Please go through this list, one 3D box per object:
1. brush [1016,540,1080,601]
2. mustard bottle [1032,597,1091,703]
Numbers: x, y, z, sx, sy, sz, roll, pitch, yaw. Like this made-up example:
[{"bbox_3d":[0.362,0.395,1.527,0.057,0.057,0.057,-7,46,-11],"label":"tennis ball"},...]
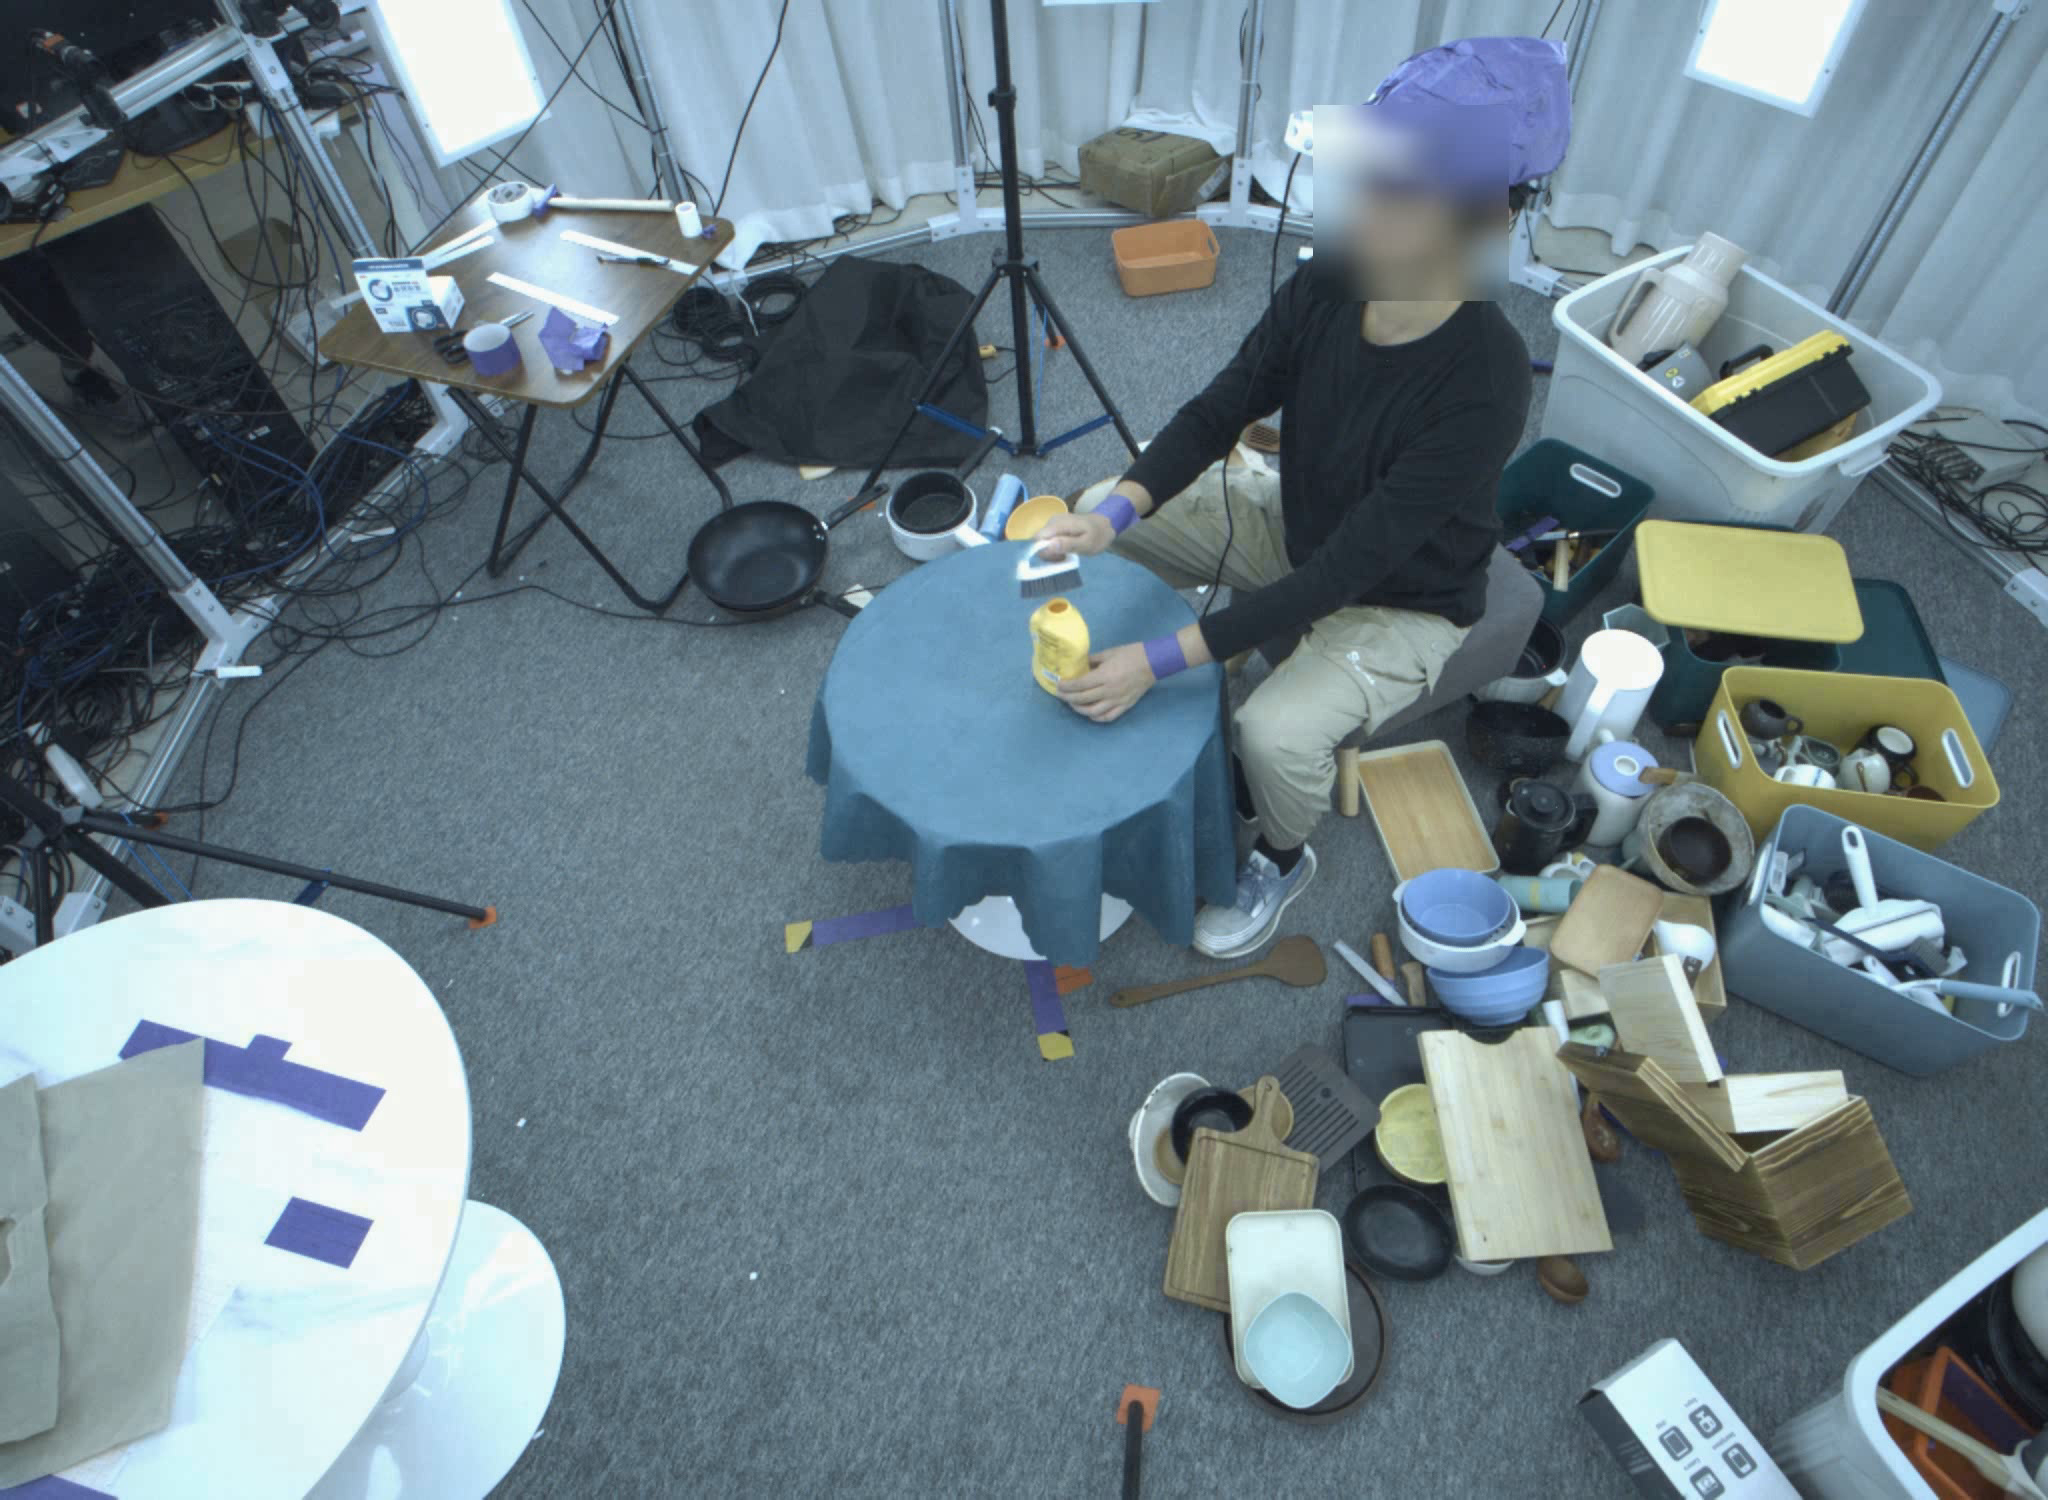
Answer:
[{"bbox_3d":[0.031,-0.256,1.717,0.100,0.073,0.049,-25,26,-34],"label":"brush"},{"bbox_3d":[0.053,-0.152,1.791,0.096,0.174,0.059,32,60,25],"label":"mustard bottle"}]
